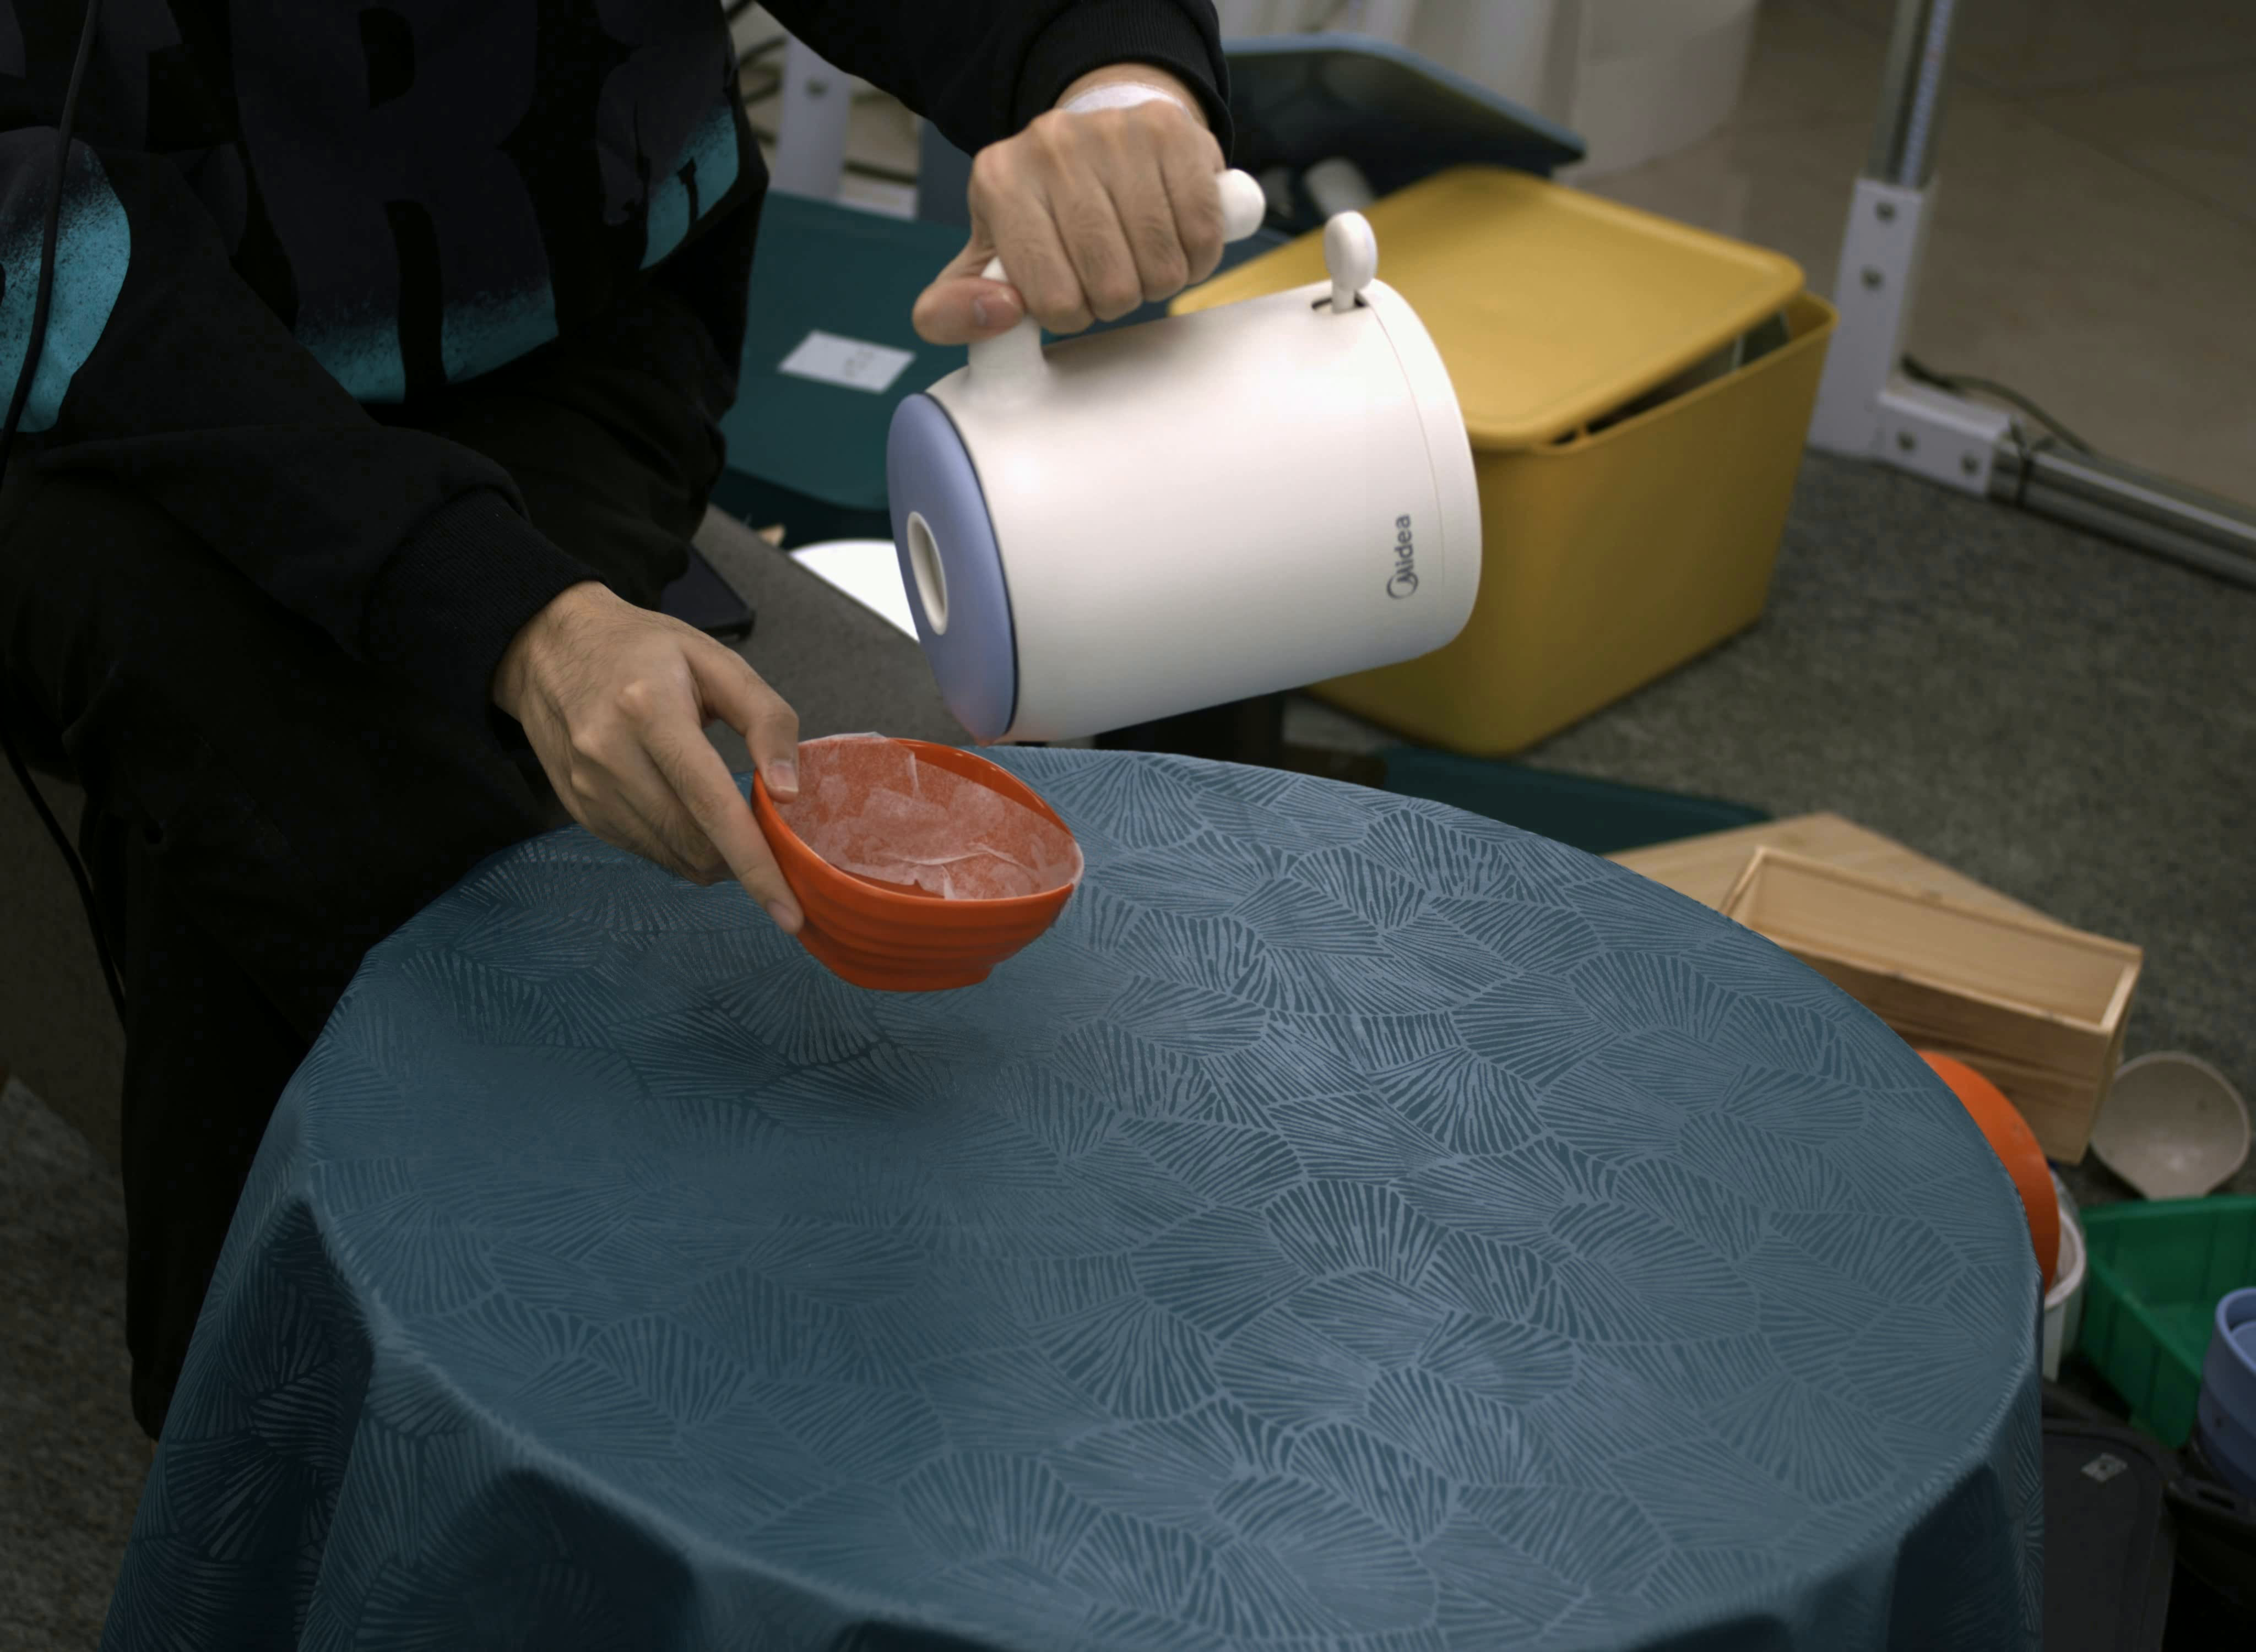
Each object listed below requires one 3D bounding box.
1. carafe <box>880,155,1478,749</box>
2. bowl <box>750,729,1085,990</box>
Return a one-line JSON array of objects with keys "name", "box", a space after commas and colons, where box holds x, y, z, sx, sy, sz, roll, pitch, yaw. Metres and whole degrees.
[{"name": "carafe", "box": [0.015, -0.128, 1.776, 0.181, 0.190, 0.133, -12, 28, -16]}, {"name": "bowl", "box": [-0.077, 0.016, 1.824, 0.118, 0.051, 0.120, 12, 30, -7]}]
